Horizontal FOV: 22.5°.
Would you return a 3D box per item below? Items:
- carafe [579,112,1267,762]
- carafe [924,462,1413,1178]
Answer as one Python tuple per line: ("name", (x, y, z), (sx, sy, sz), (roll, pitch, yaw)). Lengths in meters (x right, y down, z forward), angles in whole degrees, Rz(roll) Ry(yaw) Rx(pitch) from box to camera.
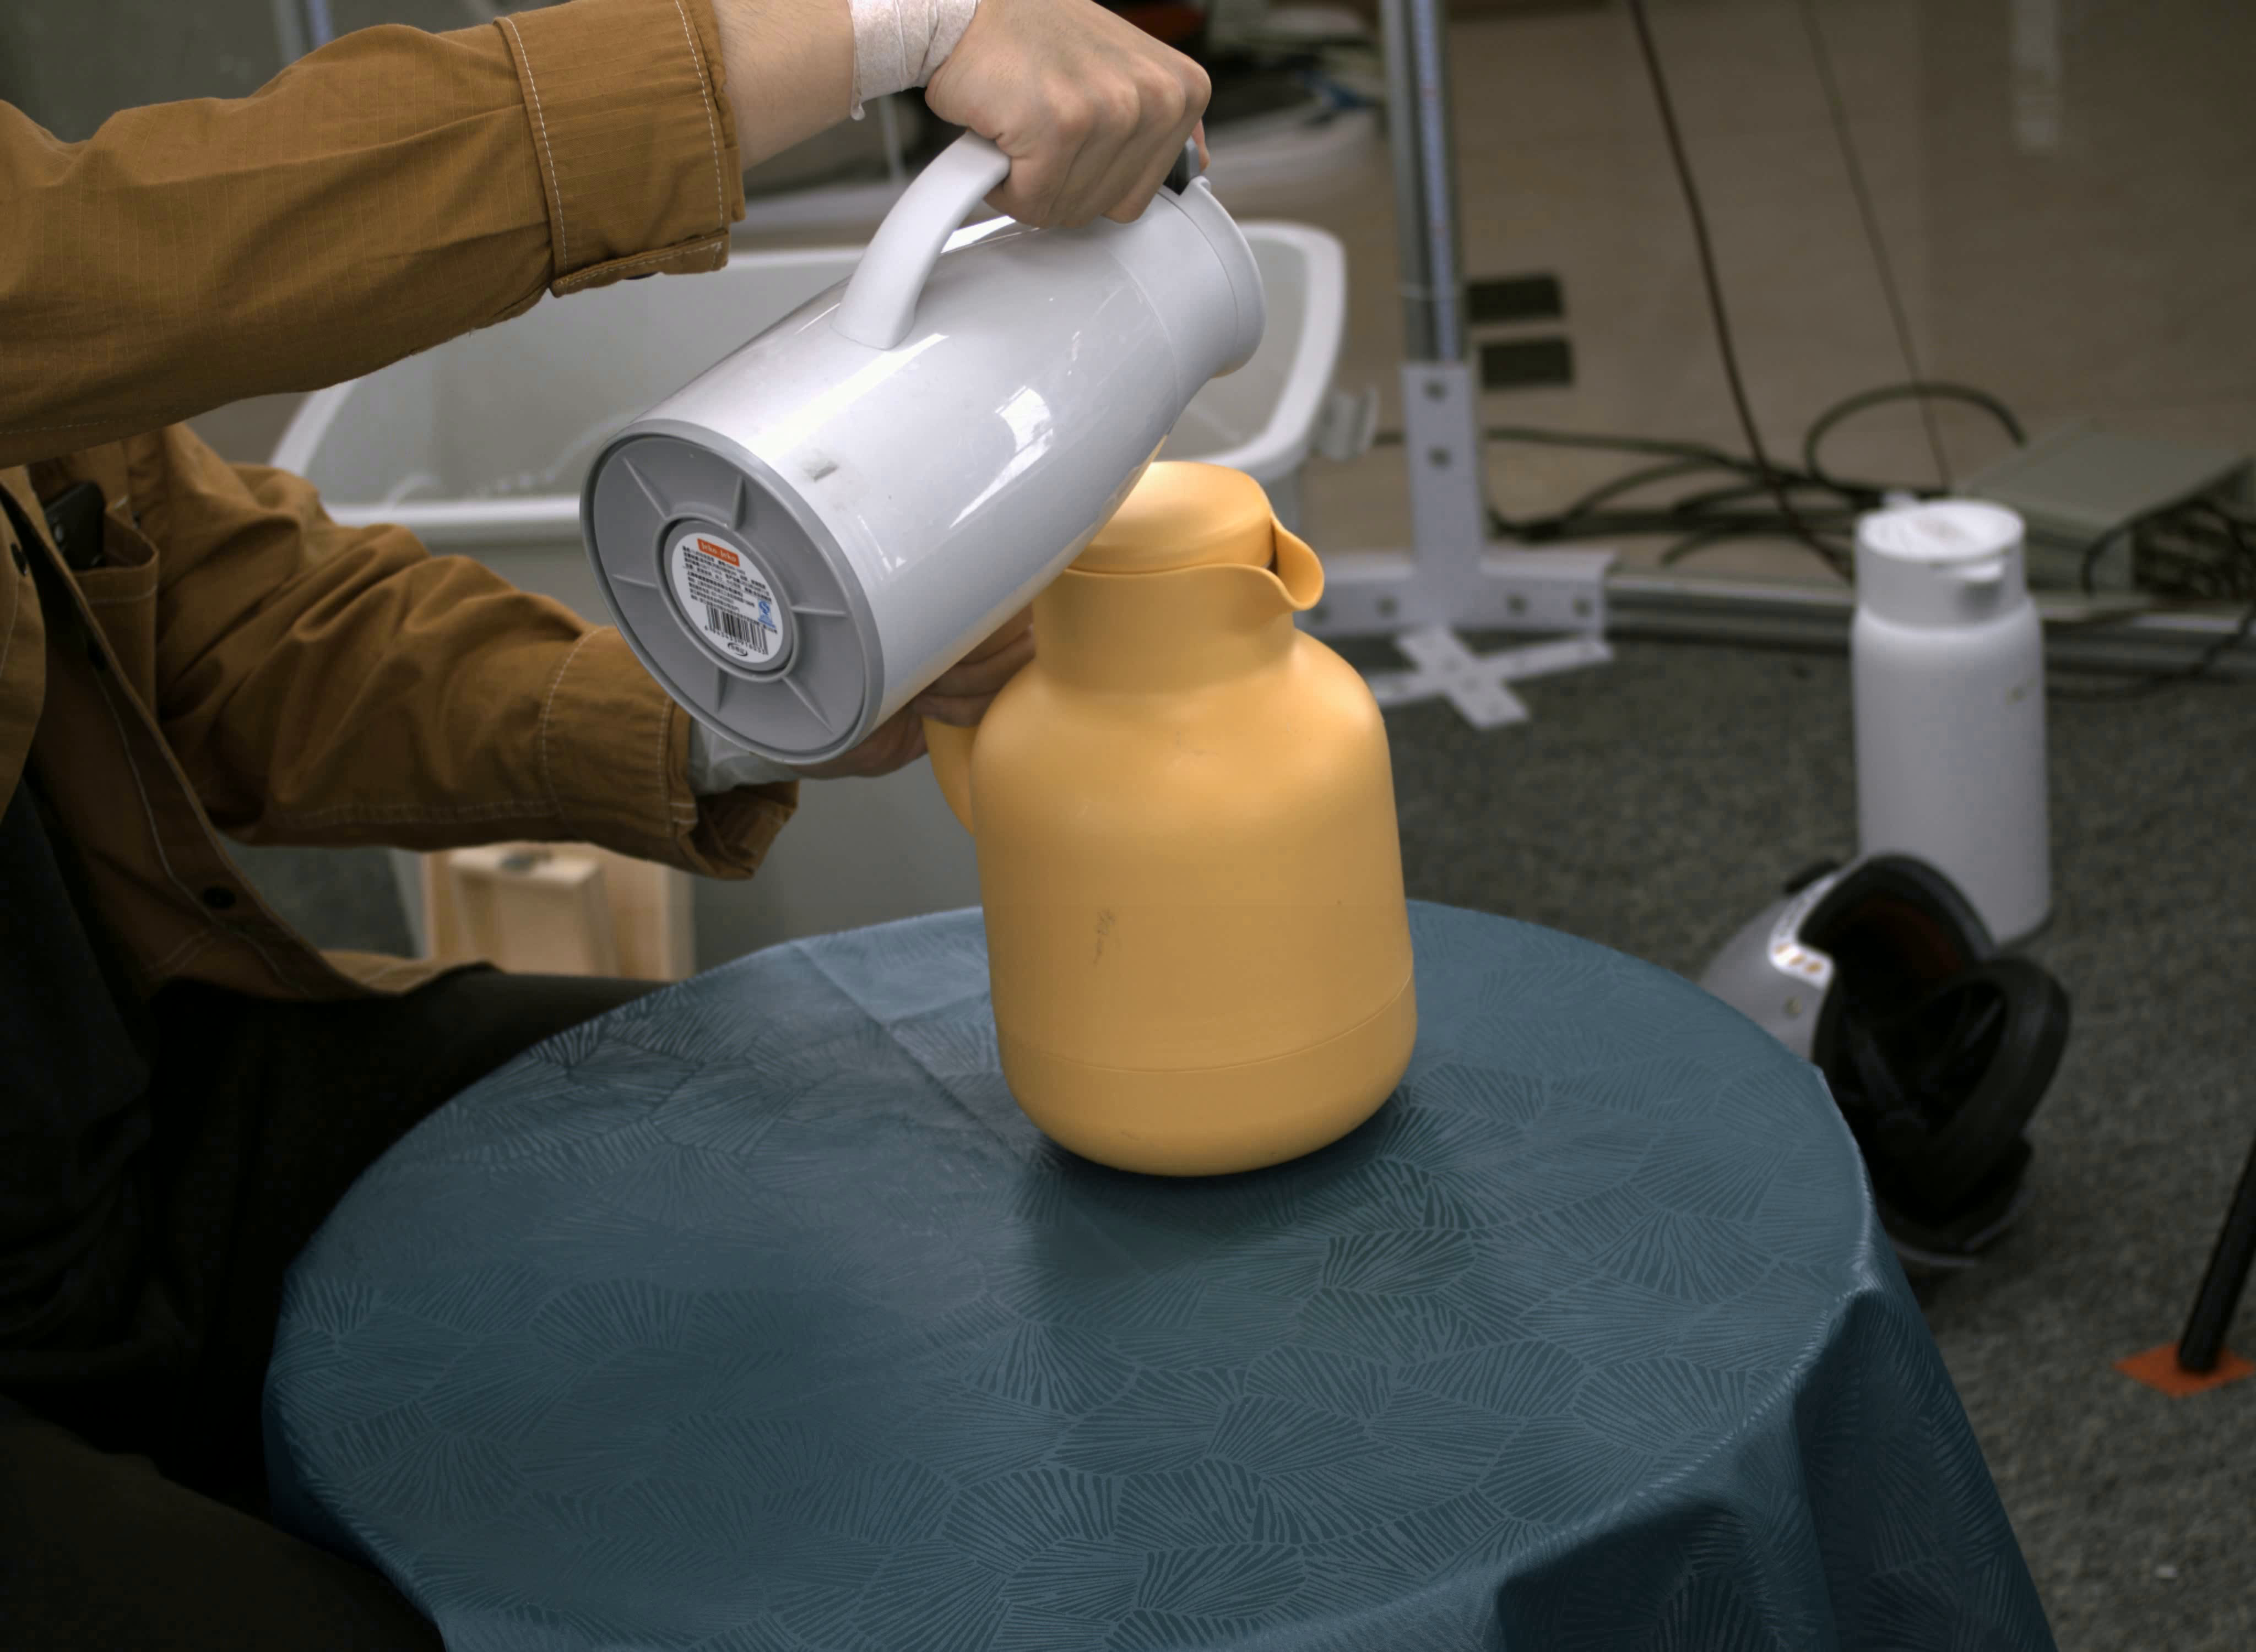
("carafe", (-0.058, -0.154, 1.956), (0.131, 0.171, 0.246), (29, 50, 29))
("carafe", (0.008, -0.012, 2.160), (0.201, 0.264, 0.162), (18, 34, 39))
